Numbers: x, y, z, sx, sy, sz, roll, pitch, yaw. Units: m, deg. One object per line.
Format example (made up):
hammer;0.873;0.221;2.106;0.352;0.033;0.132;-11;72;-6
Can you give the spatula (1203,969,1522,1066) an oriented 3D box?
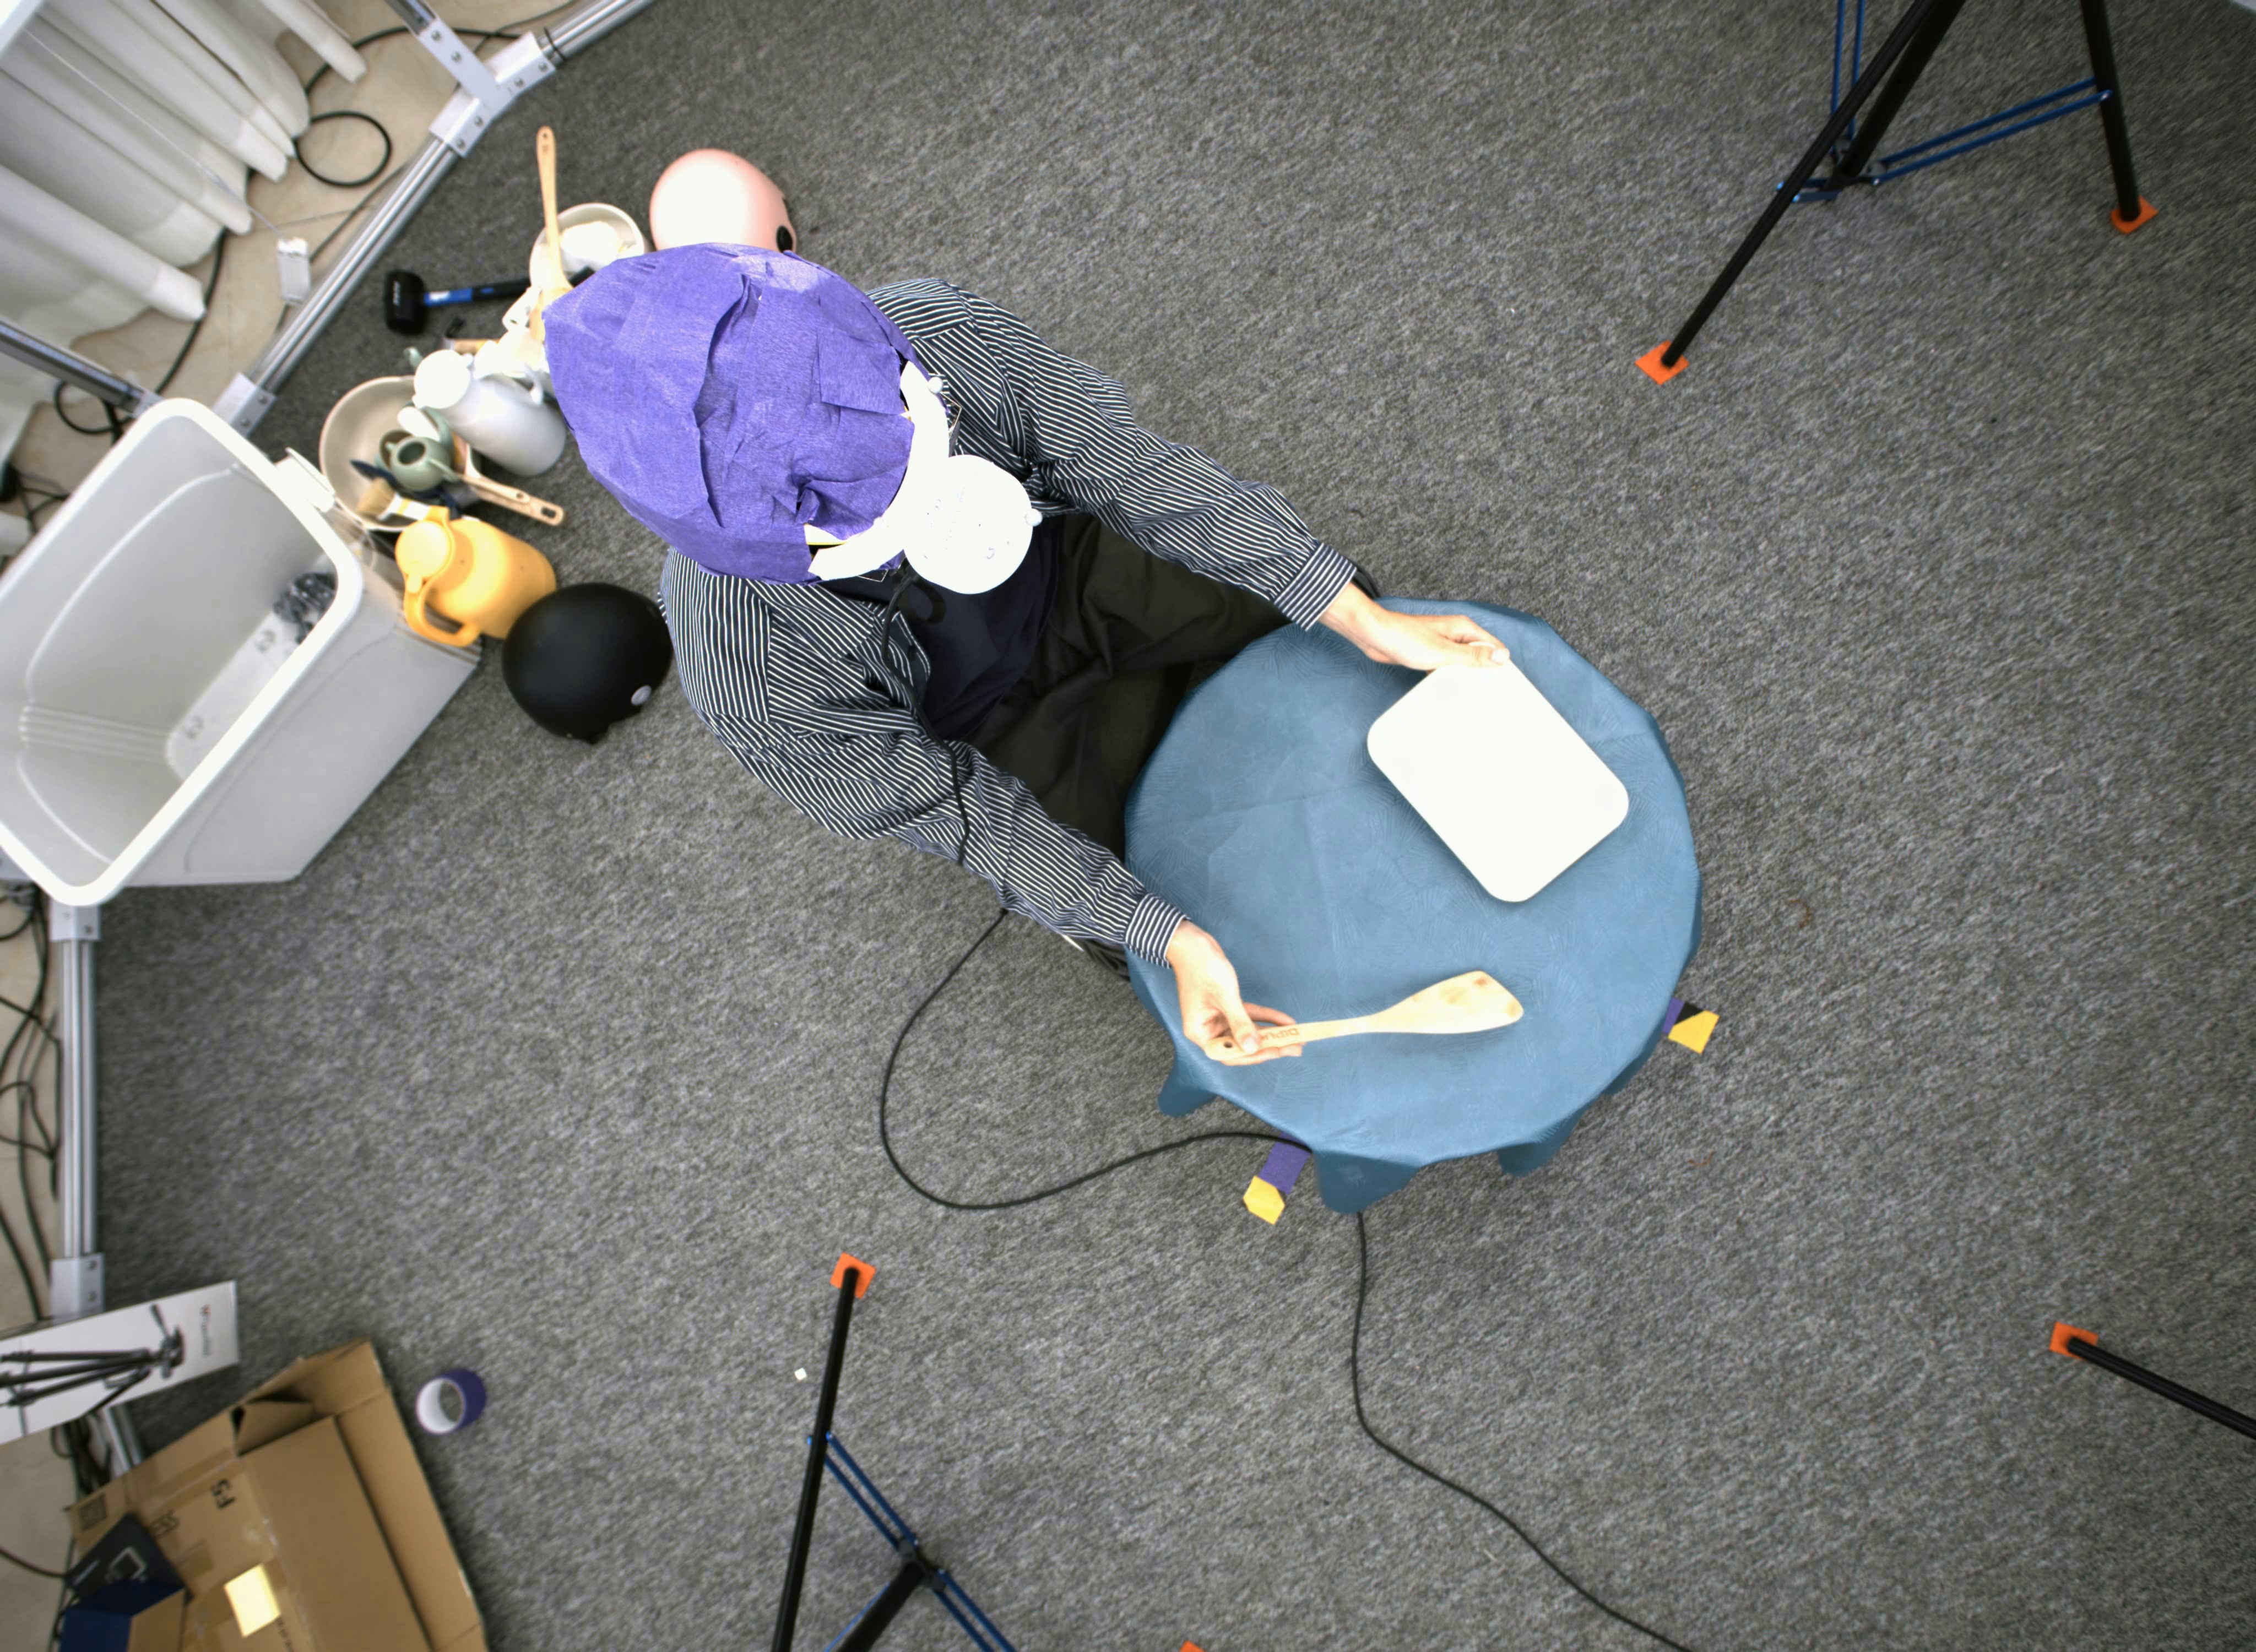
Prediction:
spatula;0.228;0.192;1.363;0.326;0.078;0.017;-9;128;-15

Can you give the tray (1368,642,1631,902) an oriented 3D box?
tray;0.374;-0.056;1.388;0.173;0.017;0.239;-42;89;18
